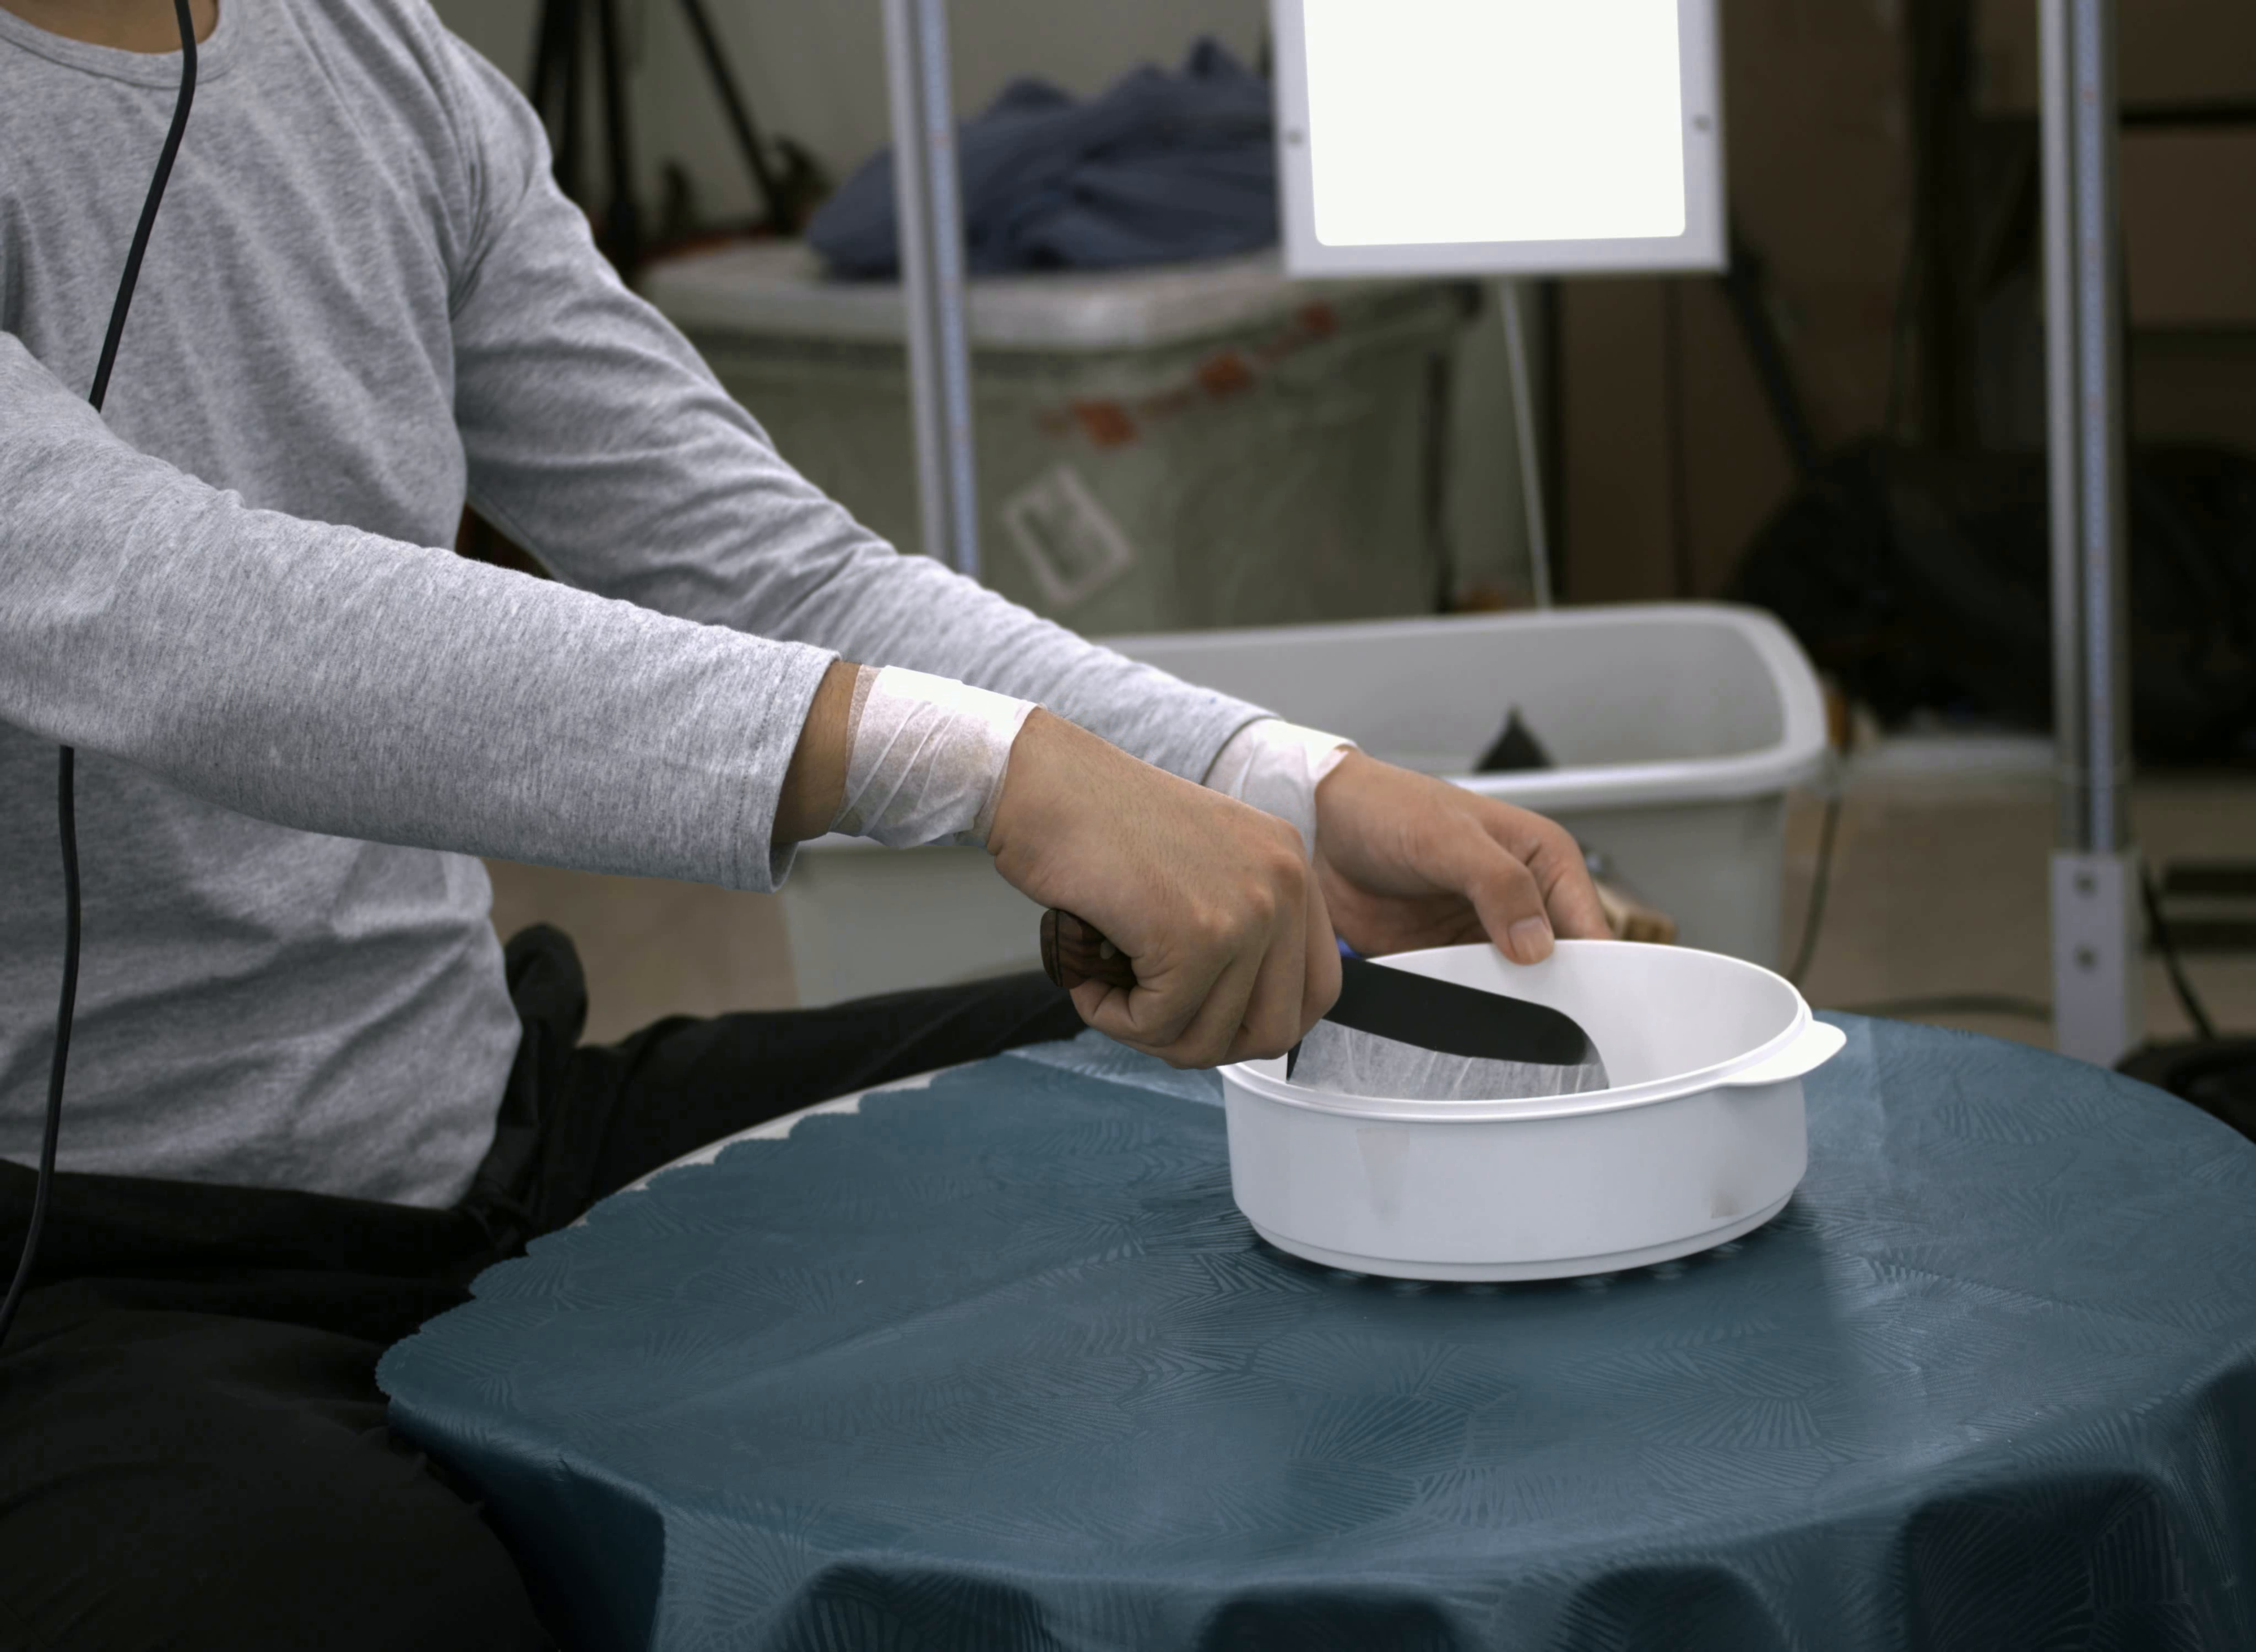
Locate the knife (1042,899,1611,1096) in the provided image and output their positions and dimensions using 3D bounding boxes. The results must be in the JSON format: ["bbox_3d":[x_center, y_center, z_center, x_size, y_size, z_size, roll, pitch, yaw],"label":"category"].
[{"bbox_3d":[0.072,0.062,1.774,0.020,0.050,0.282,20,1,45],"label":"knife"}]

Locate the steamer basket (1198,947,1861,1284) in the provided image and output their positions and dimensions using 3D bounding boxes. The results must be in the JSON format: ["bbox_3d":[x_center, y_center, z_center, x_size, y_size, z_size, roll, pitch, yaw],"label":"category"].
[{"bbox_3d":[0.134,0.096,1.837,0.235,0.069,0.197,2,15,32],"label":"steamer basket"}]
